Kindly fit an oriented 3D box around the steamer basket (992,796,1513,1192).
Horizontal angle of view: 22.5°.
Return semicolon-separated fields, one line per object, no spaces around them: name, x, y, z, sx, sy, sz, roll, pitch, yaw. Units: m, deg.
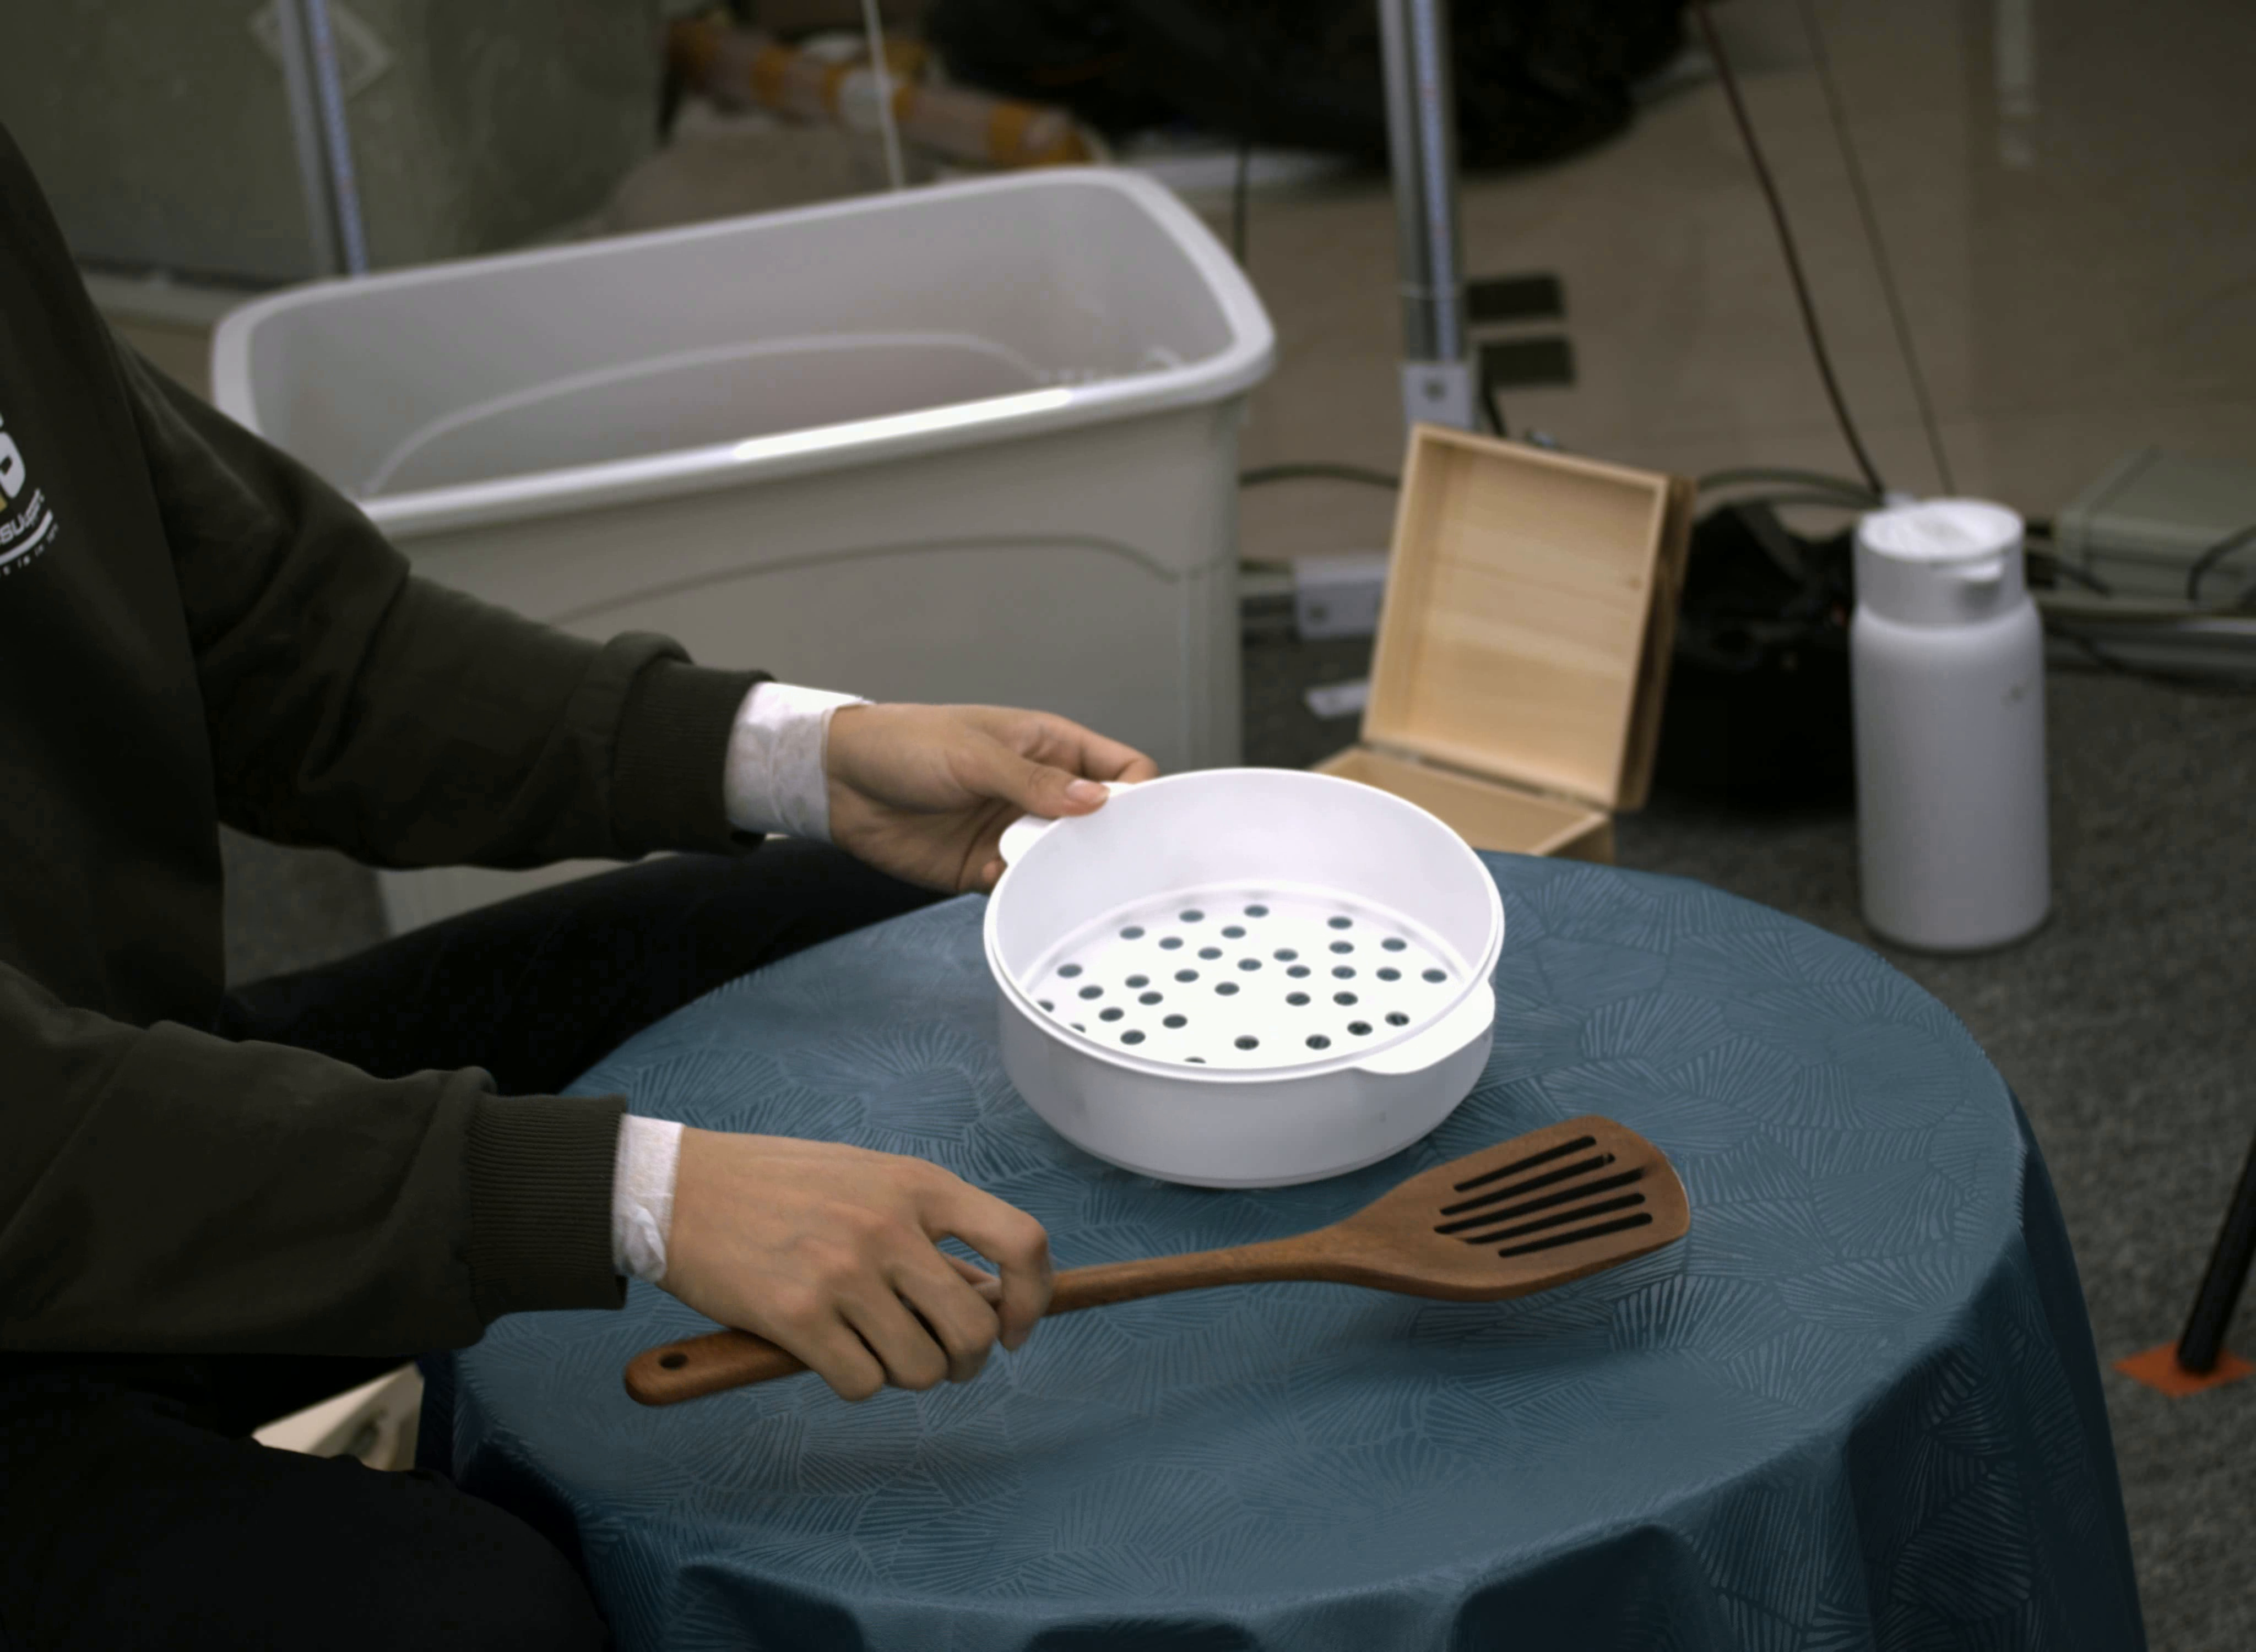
steamer basket;0.049;0.066;2.196;0.200;0.070;0.228;-29;39;-35

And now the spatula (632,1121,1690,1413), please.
spatula;0.013;0.164;1.996;0.384;0.024;0.084;-9;32;-17
